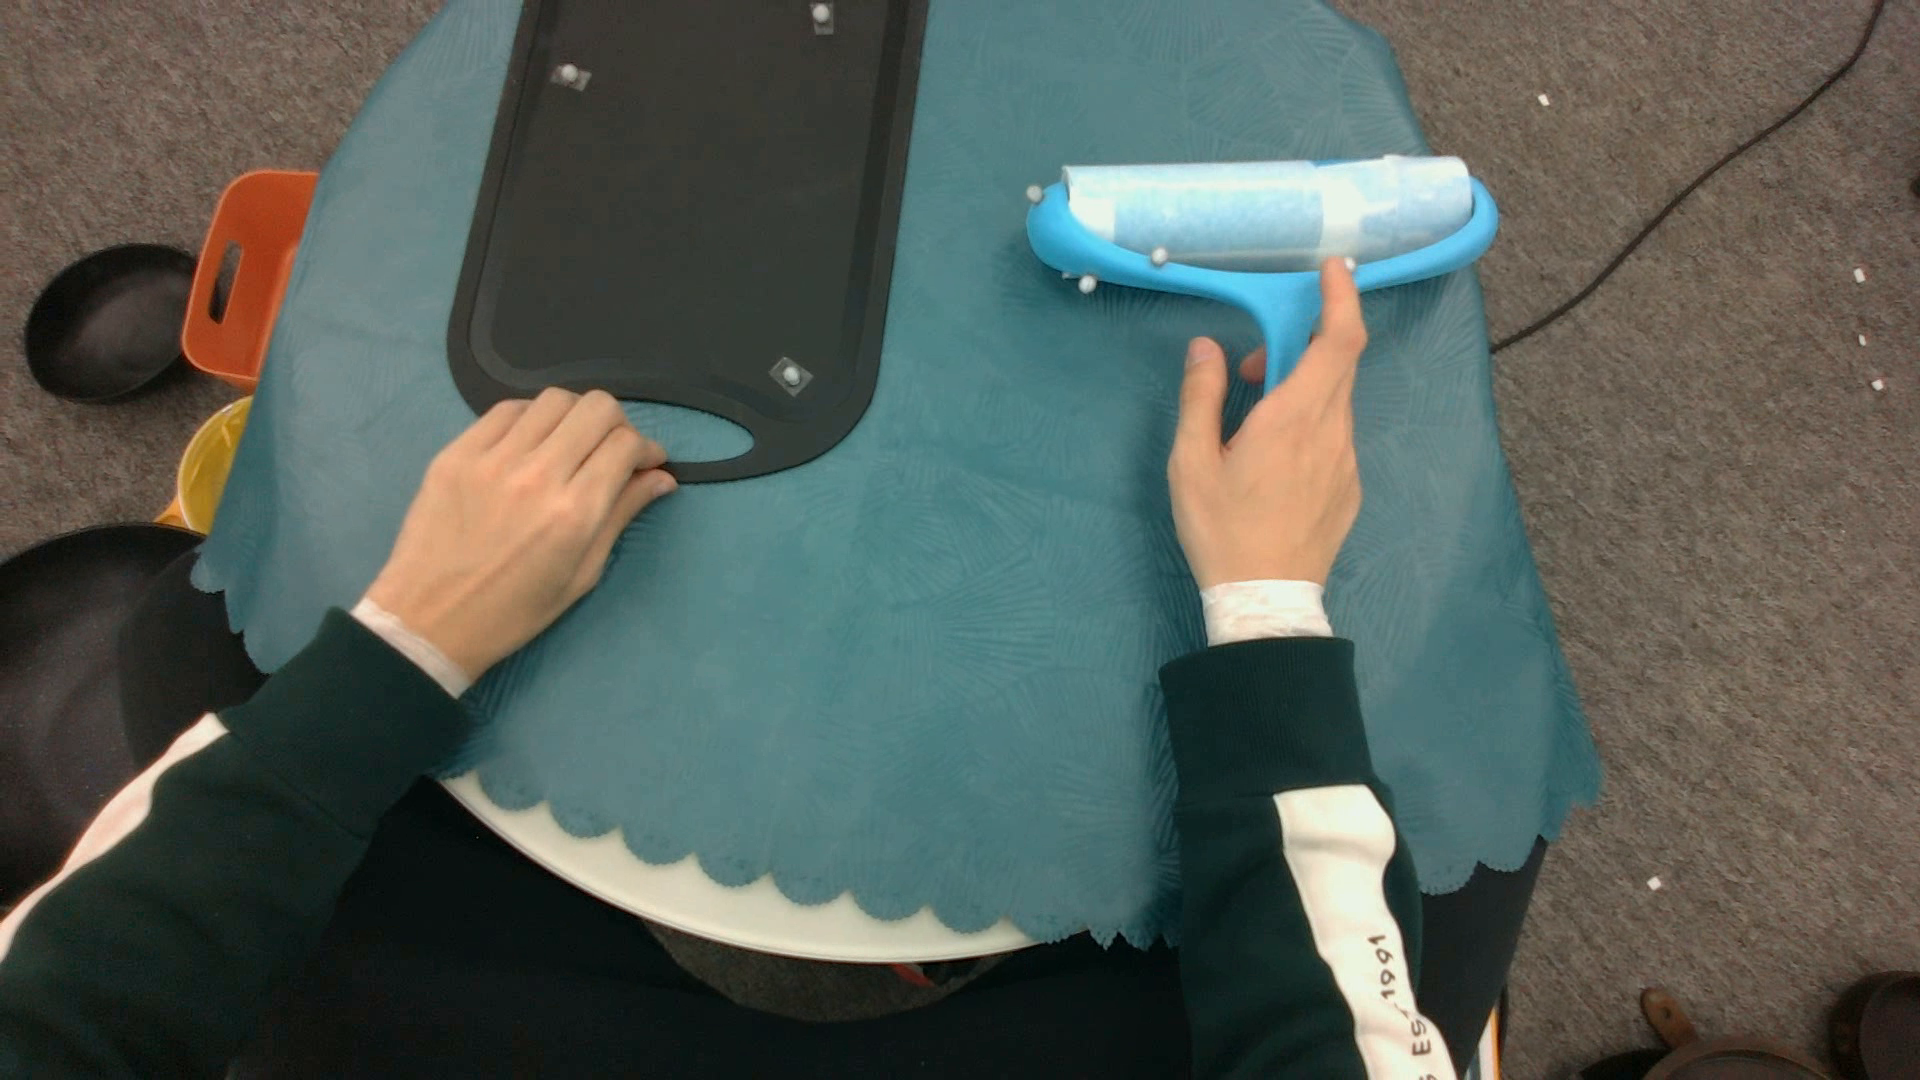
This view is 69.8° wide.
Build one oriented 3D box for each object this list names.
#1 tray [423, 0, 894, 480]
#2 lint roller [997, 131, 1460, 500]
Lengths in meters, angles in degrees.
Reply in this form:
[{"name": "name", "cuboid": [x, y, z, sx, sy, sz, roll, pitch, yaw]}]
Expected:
[{"name": "tray", "cuboid": [-0.148, -0.185, 0.699, 0.211, 0.010, 0.326, 6, 74, -1]}, {"name": "lint roller", "cuboid": [0.140, -0.114, 0.665, 0.229, 0.068, 0.180, -6, 73, -6]}]
